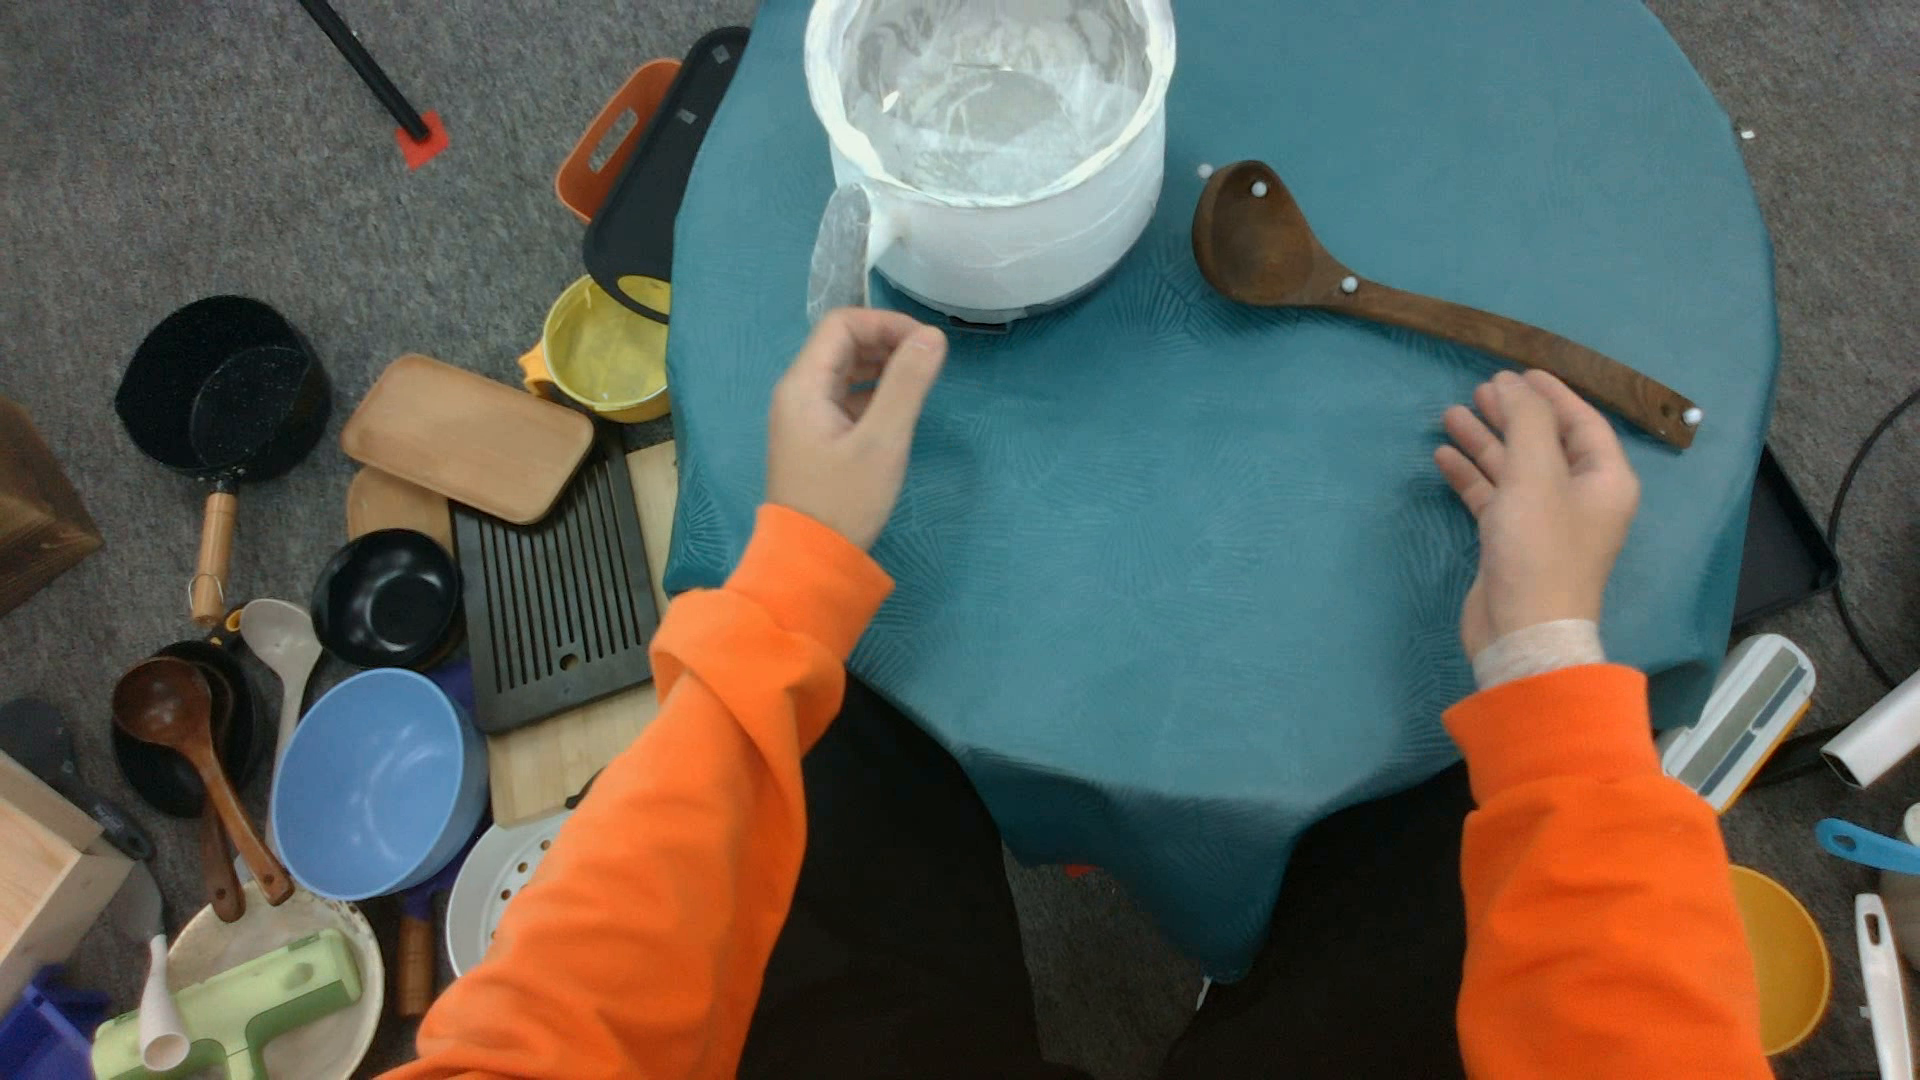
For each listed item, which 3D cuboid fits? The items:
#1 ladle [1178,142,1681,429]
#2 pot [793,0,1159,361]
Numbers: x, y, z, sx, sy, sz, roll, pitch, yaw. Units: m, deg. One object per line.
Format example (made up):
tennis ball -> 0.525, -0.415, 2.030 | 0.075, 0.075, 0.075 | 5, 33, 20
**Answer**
ladle -> 0.243, -0.128, 0.705 | 0.274, 0.071, 0.076 | 23, 77, 12
pot -> -0.005, -0.201, 0.713 | 0.179, 0.136, 0.234 | 34, 77, 15
